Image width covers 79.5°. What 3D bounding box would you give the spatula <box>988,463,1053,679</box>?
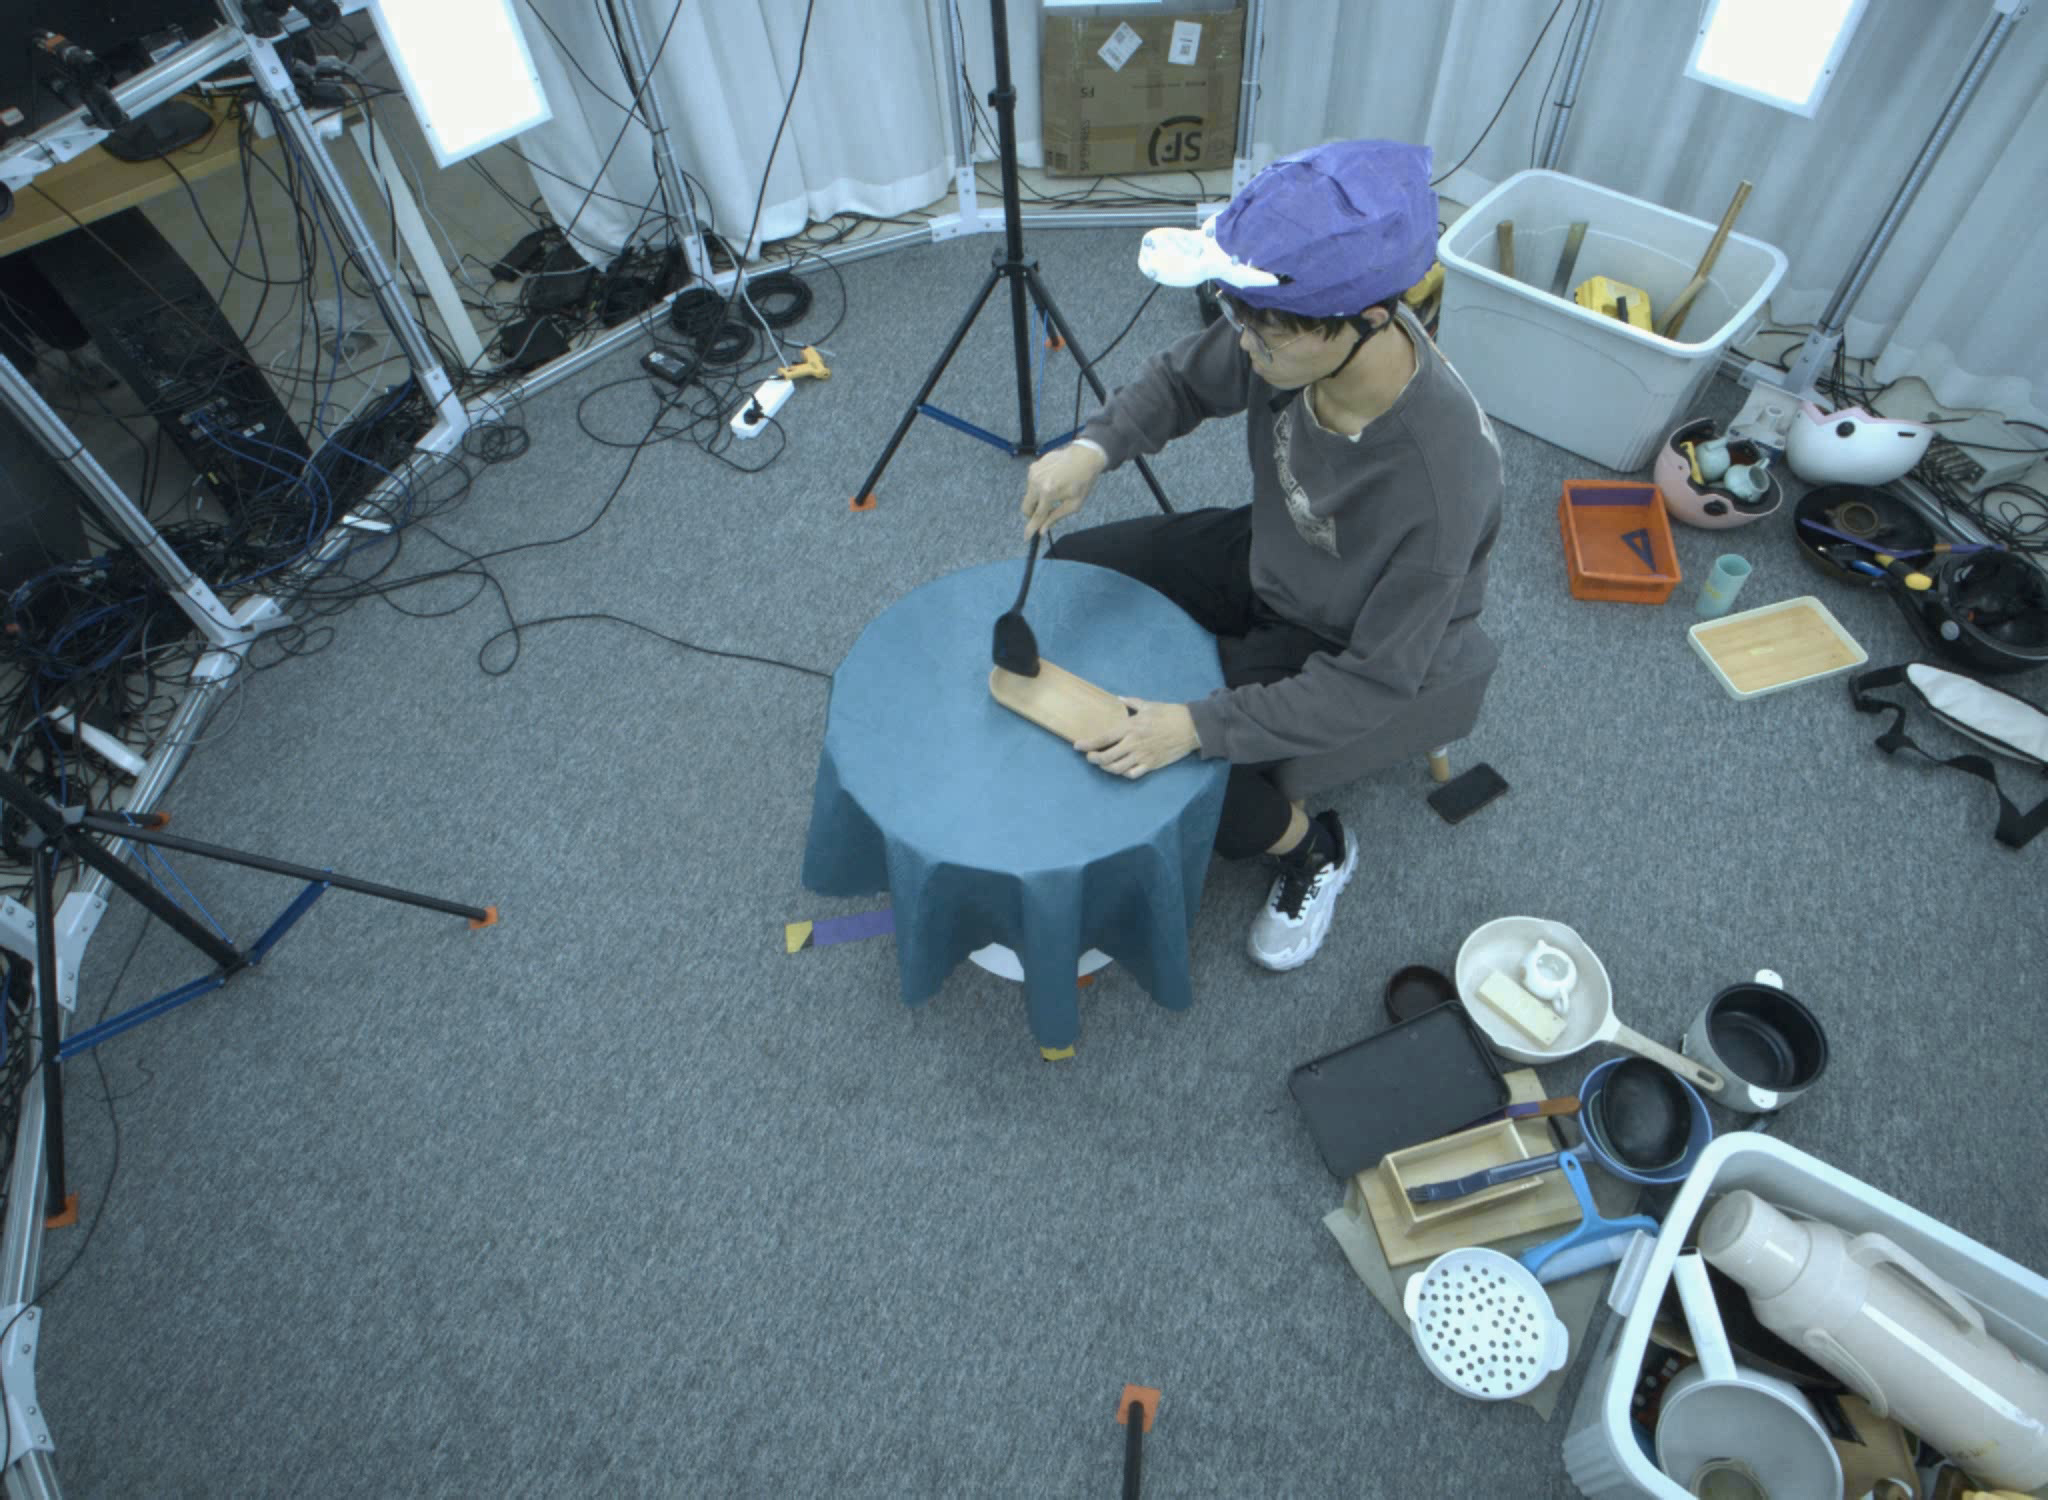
[{"bbox_3d":[0.007,-0.270,1.805,0.039,0.102,0.326,12,87,44],"label":"spatula"}]

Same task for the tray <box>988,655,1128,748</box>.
[{"bbox_3d":[0.049,-0.073,1.826,0.227,0.020,0.102,28,59,22],"label":"tray"}]
